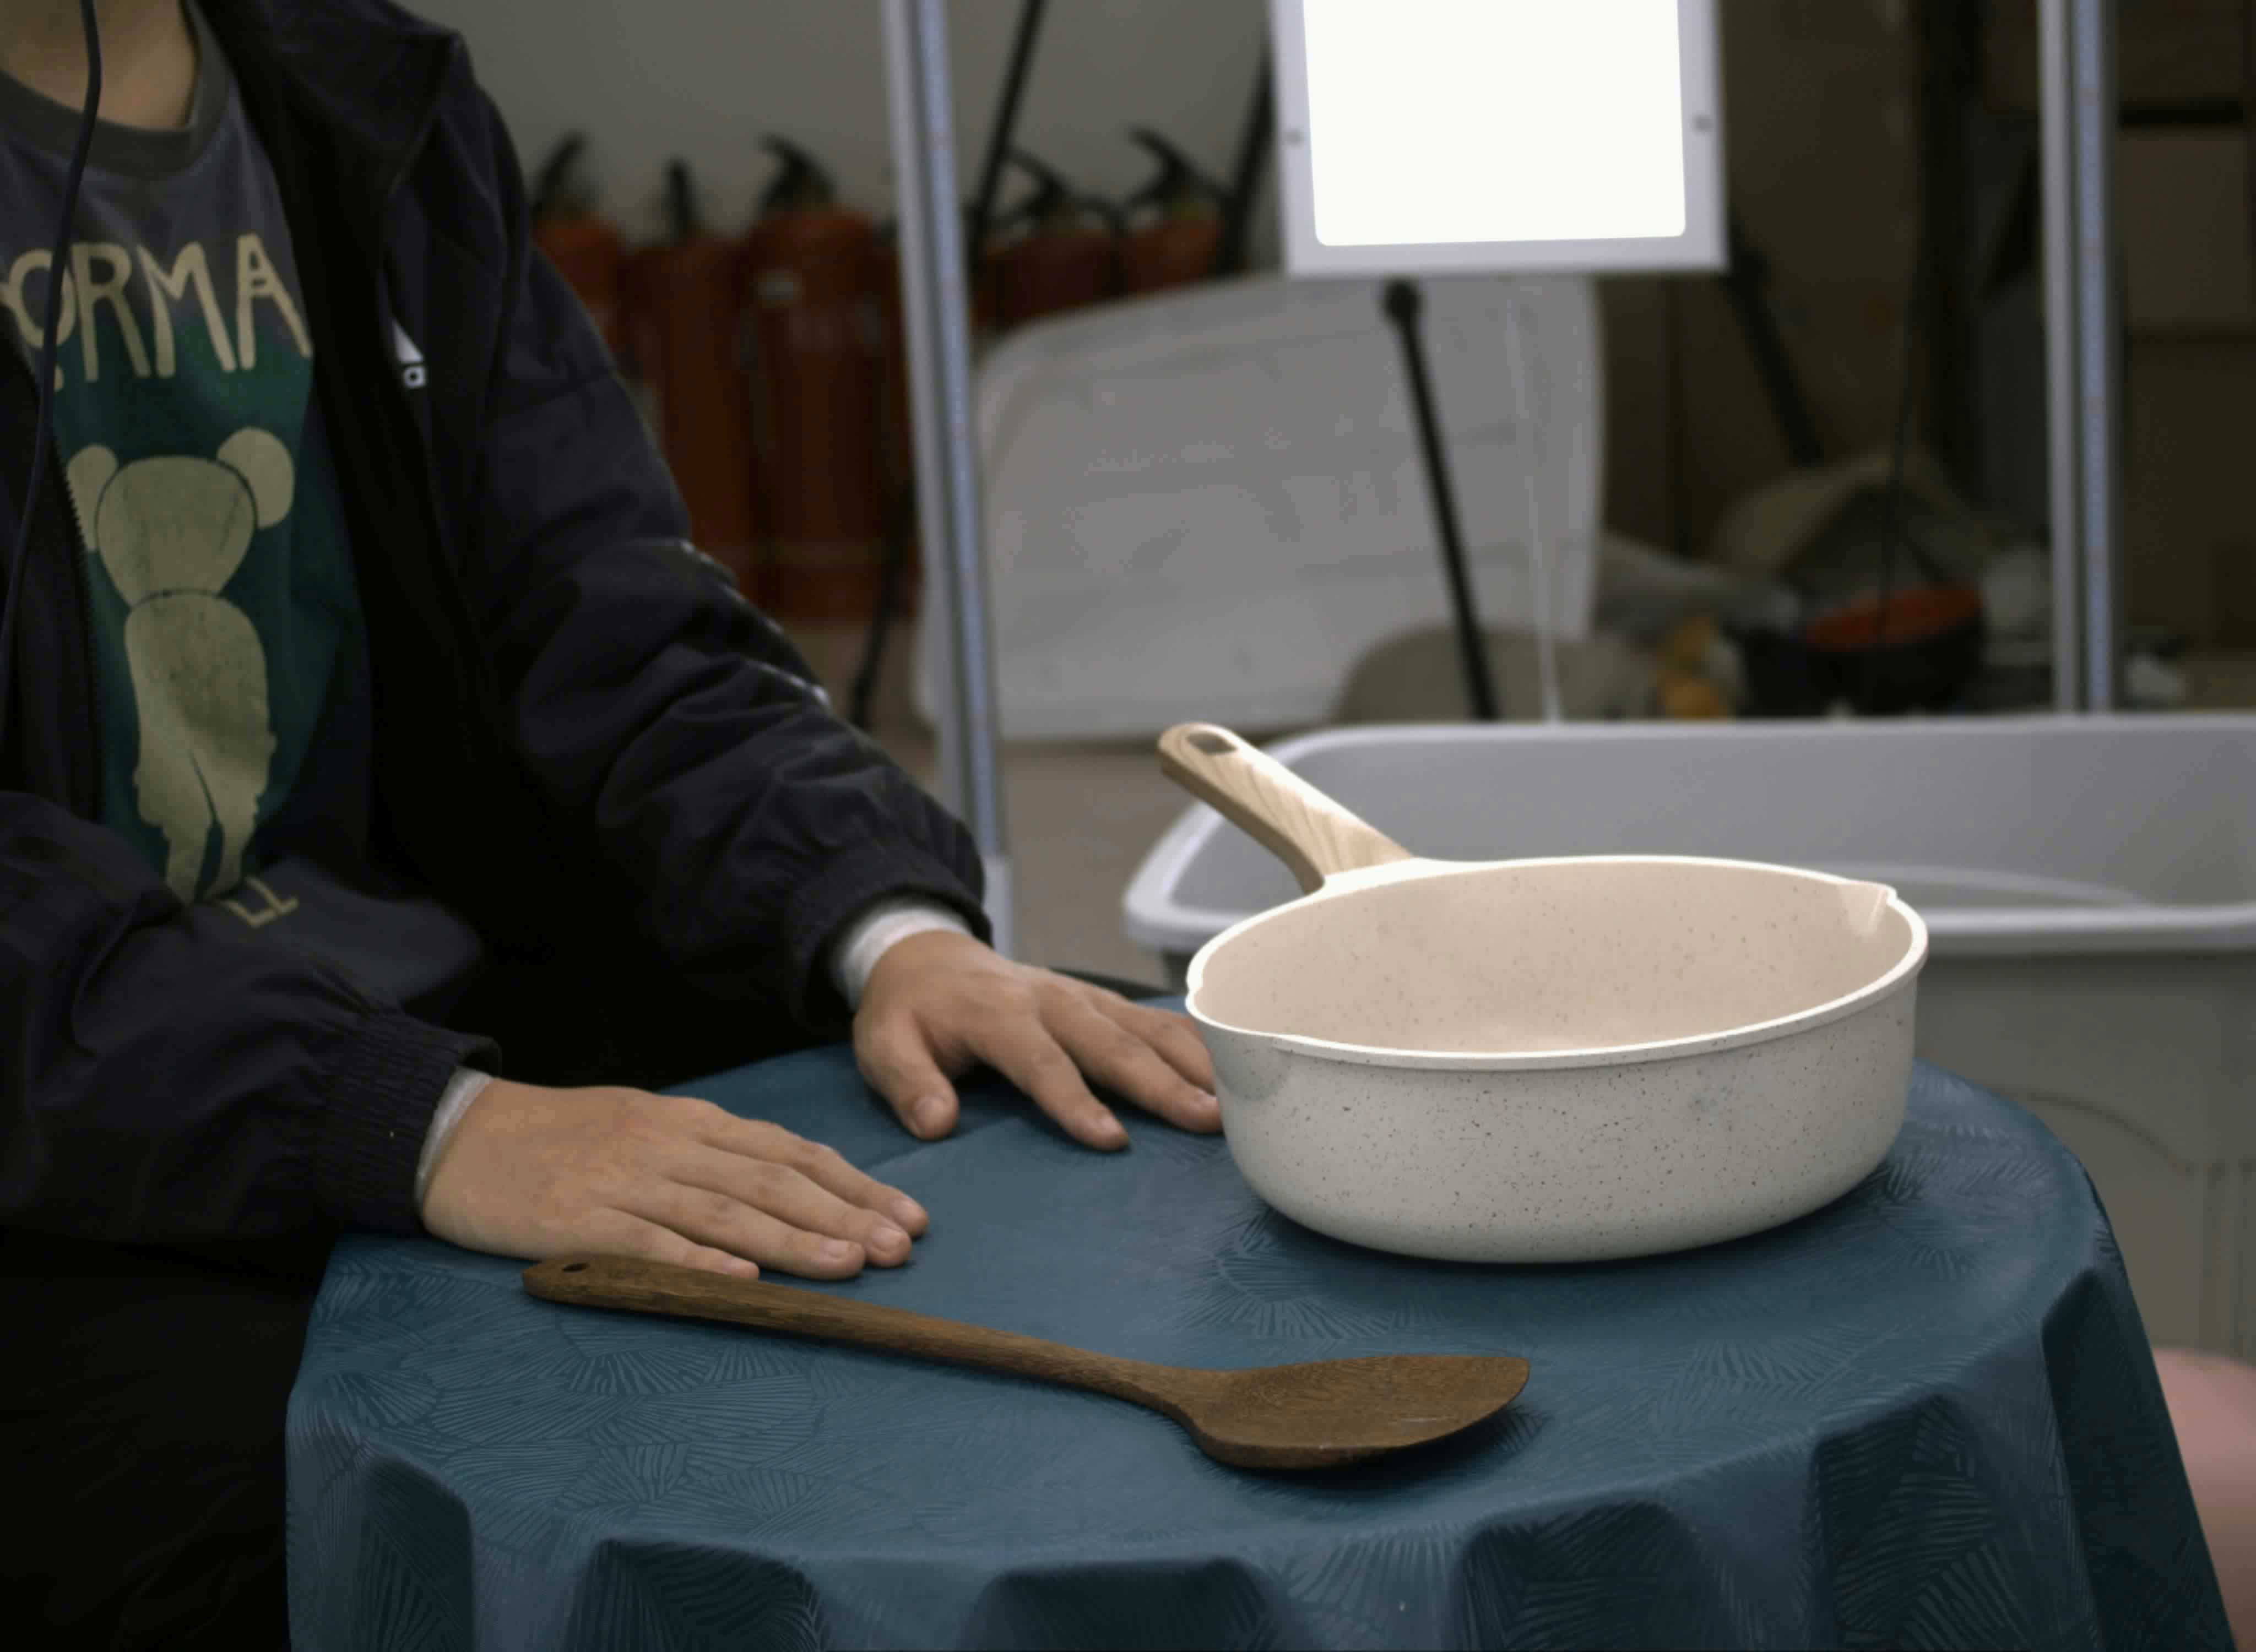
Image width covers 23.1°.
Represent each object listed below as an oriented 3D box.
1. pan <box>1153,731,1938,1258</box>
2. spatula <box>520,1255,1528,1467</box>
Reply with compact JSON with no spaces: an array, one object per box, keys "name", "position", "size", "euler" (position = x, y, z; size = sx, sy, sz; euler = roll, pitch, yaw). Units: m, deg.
[{"name":"pan","position":[0.115,0.053,1.943],"size":[0.258,0.102,0.441],"euler":[-12,15,-20]},{"name":"spatula","position":[-0.049,0.163,1.734],"size":[0.394,0.016,0.094],"euler":[5,17,38]}]
